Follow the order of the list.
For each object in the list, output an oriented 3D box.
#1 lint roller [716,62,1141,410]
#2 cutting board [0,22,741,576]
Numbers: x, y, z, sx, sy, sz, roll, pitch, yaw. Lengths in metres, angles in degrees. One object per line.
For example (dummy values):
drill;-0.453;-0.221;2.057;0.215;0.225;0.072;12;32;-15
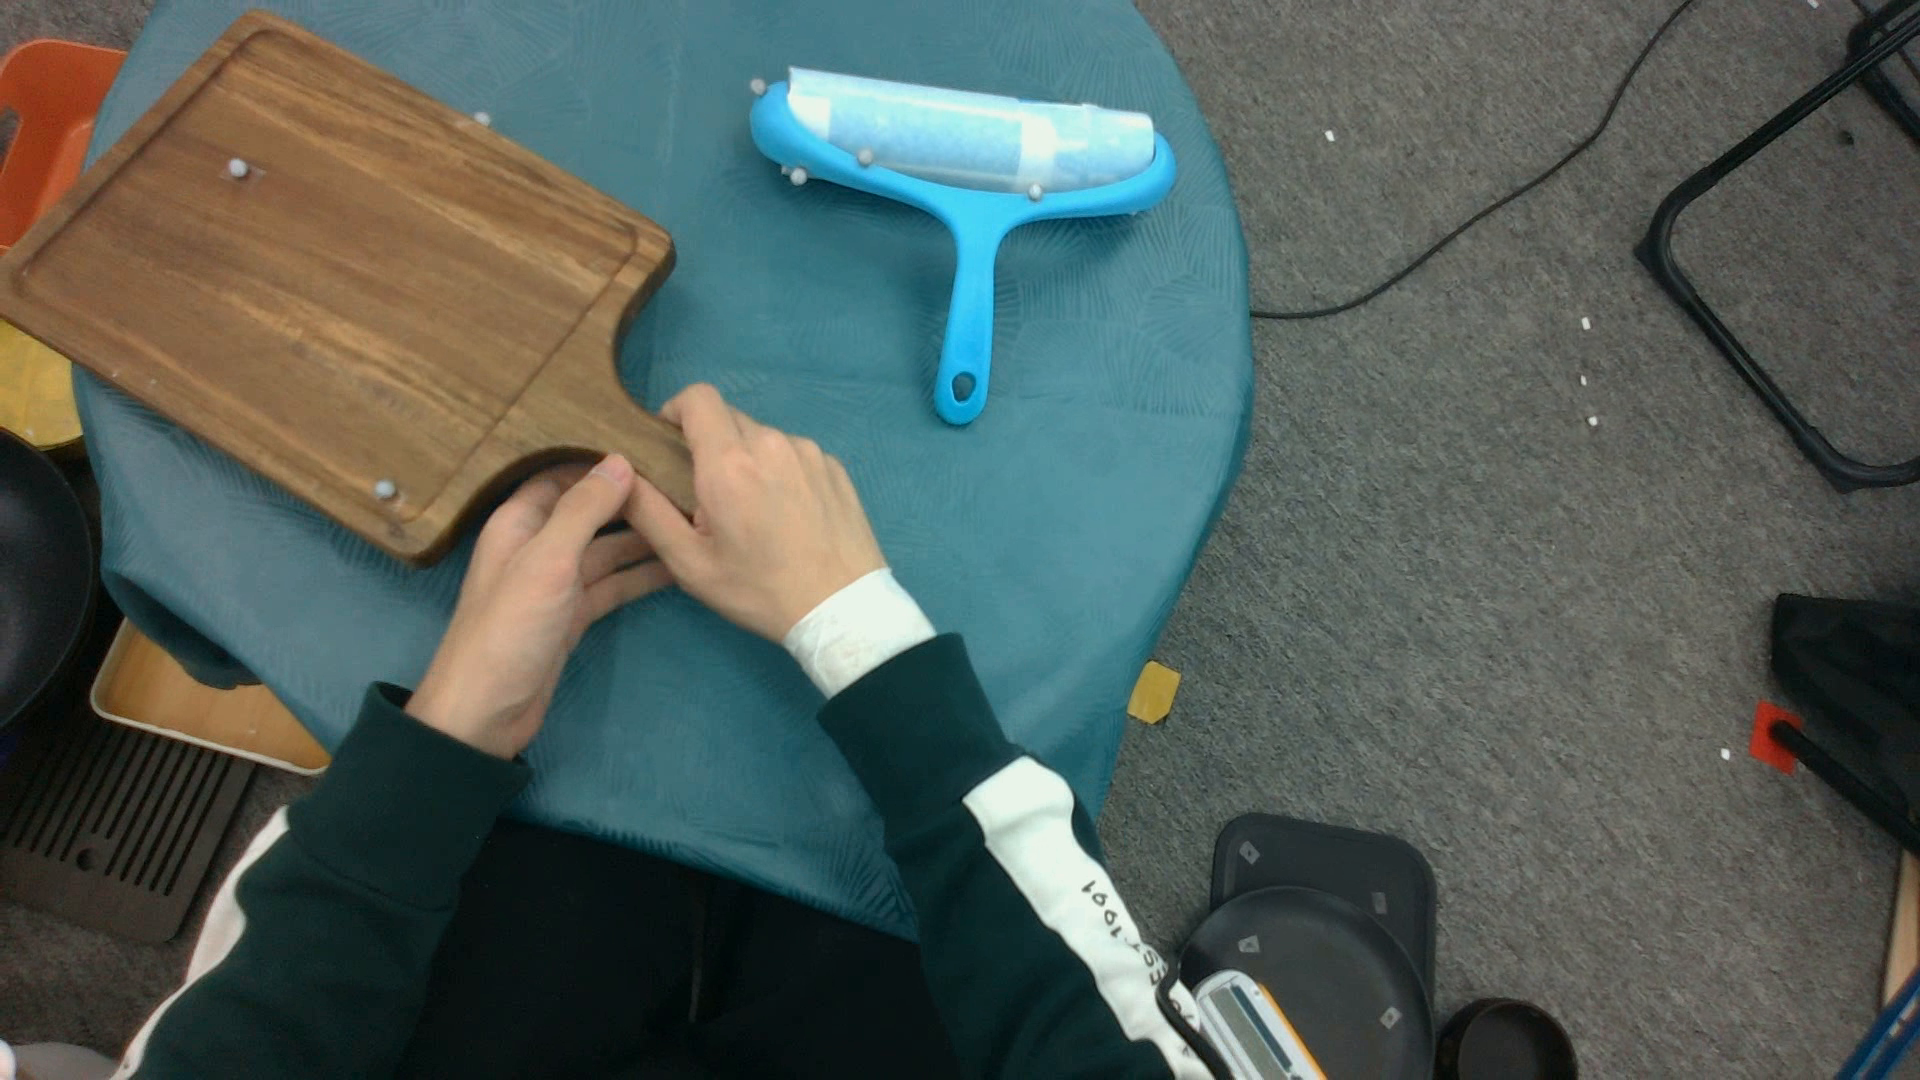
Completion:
lint roller;-0.009;-0.163;0.719;0.229;0.067;0.180;-1;73;-14
cutting board;-0.259;-0.098;0.636;0.352;0.023;0.202;27;70;6
